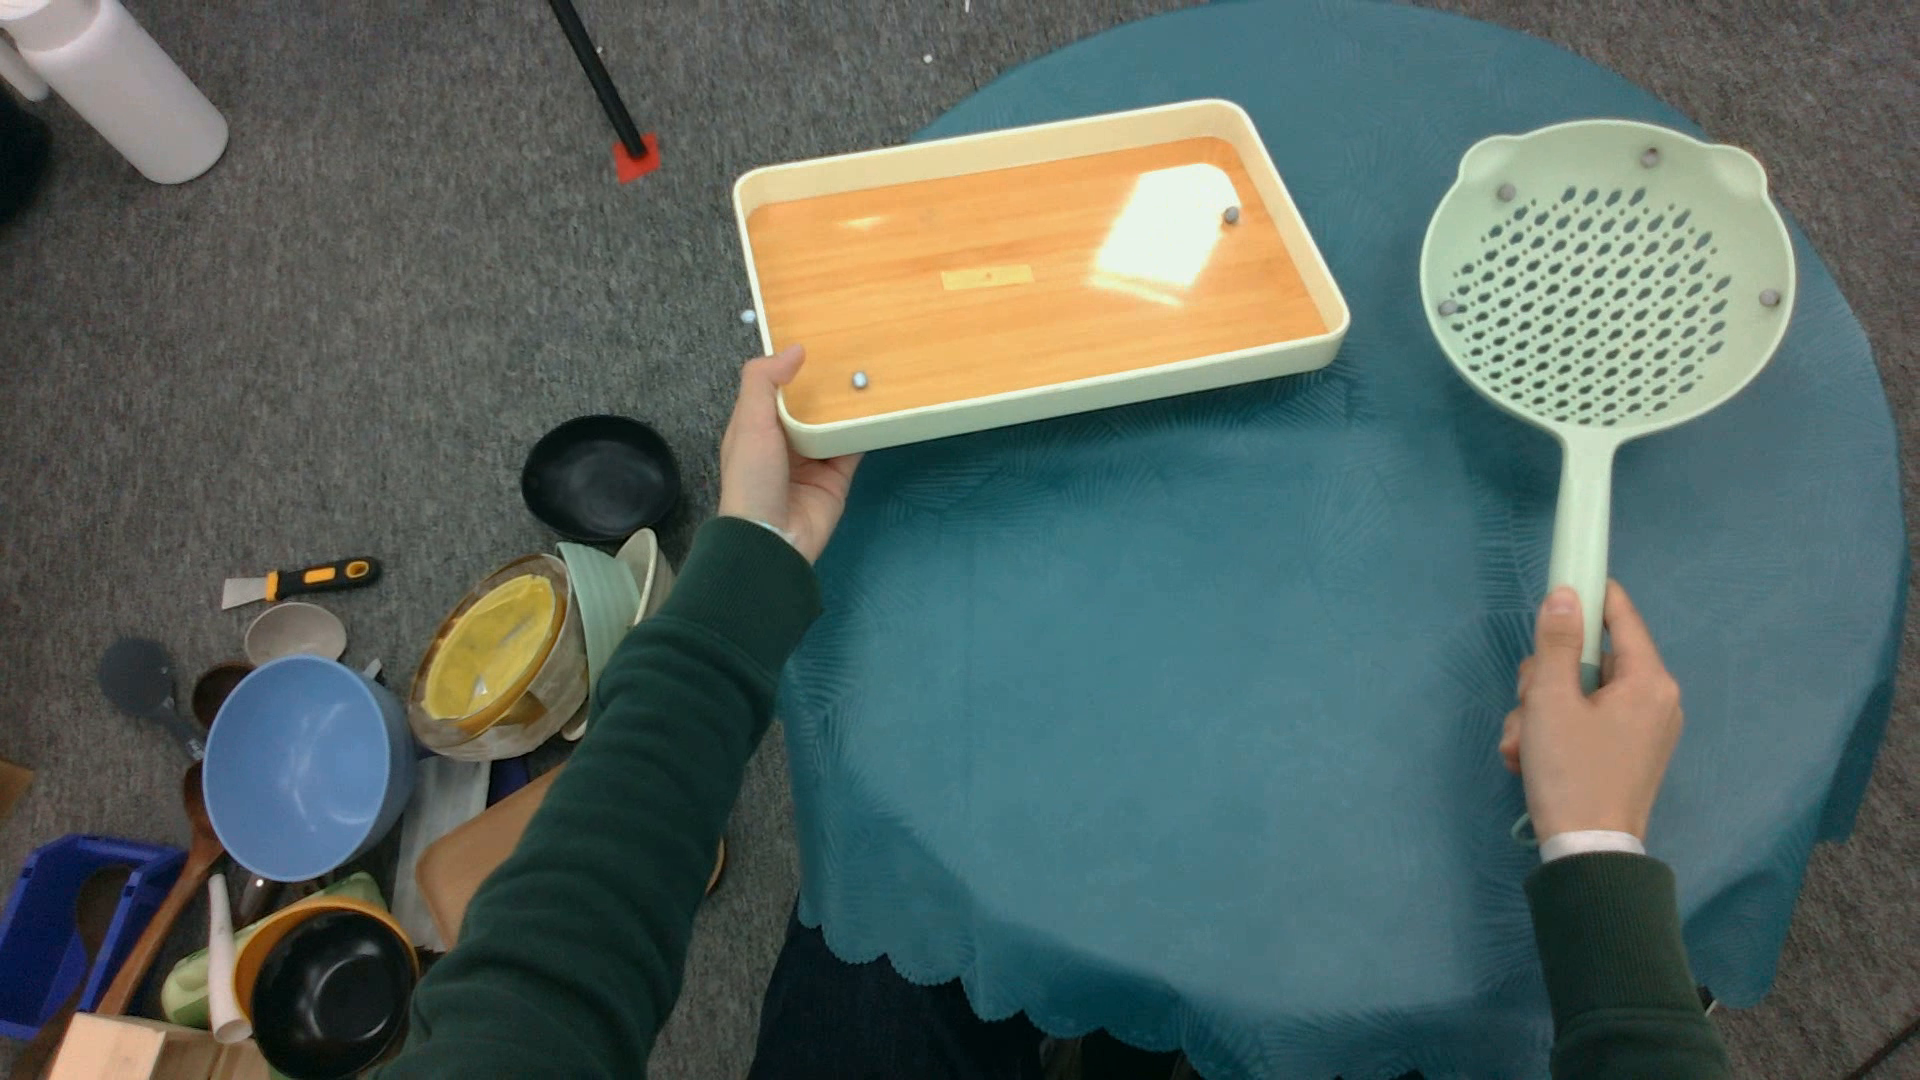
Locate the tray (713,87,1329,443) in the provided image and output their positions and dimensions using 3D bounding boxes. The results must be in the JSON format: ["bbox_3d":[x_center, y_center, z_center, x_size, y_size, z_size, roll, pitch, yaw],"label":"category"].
[{"bbox_3d":[0.028,-0.155,0.744,0.300,0.027,0.192,-11,58,-8],"label":"tray"}]

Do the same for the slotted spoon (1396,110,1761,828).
[{"bbox_3d":[0.285,-0.045,0.662,0.169,0.075,0.360,7,65,15],"label":"slotted spoon"}]
